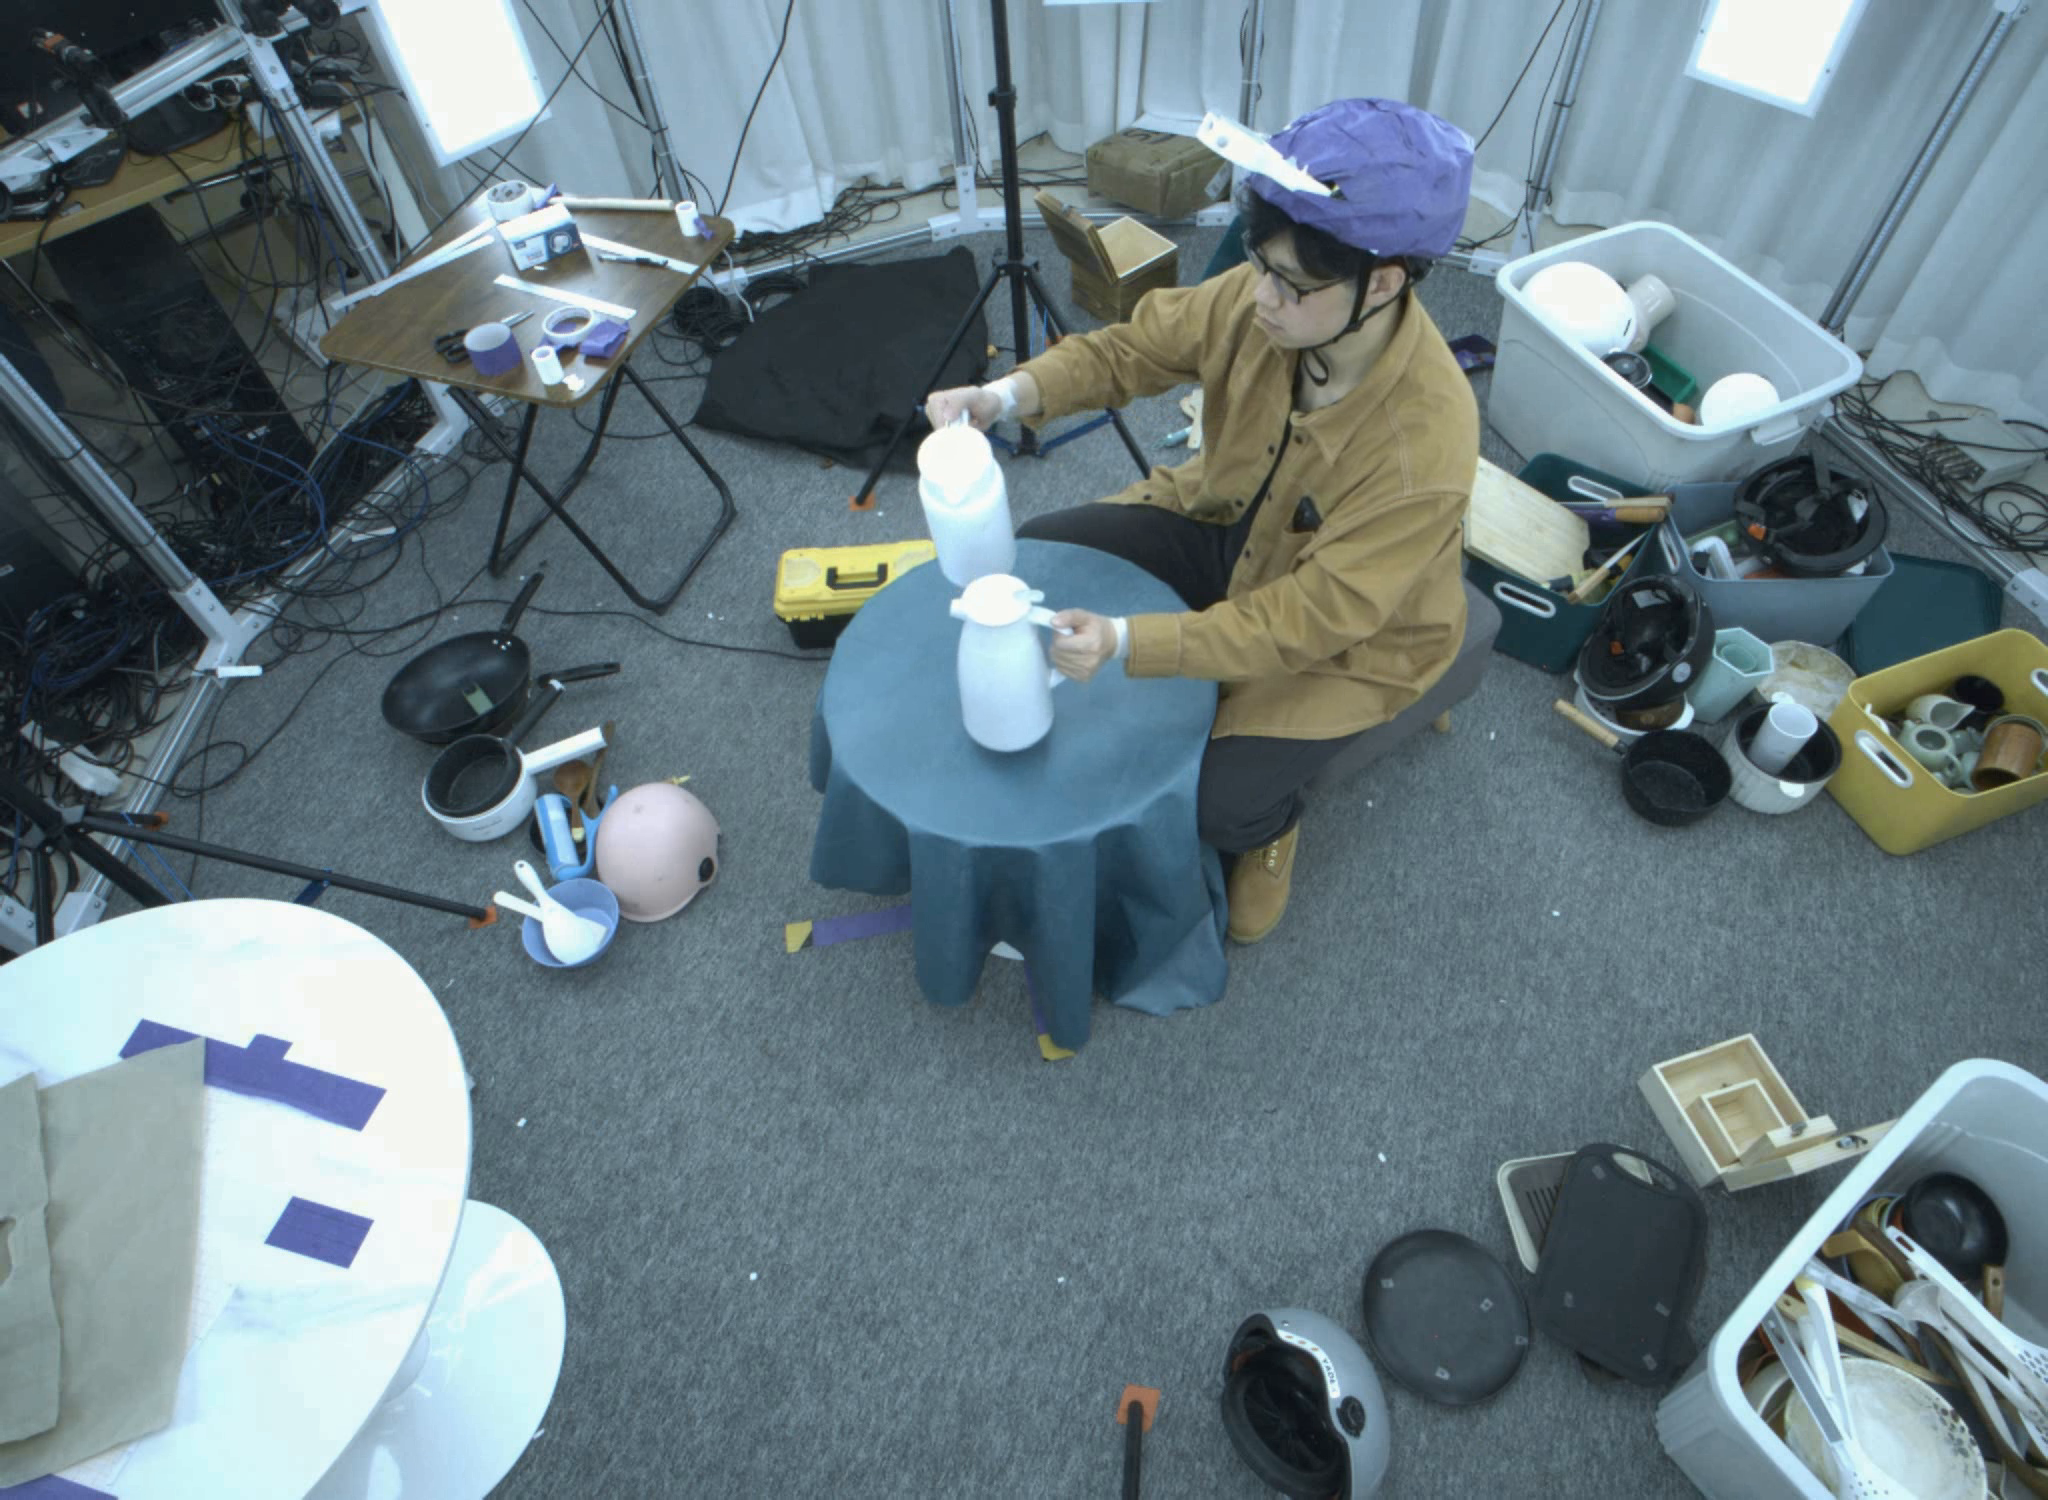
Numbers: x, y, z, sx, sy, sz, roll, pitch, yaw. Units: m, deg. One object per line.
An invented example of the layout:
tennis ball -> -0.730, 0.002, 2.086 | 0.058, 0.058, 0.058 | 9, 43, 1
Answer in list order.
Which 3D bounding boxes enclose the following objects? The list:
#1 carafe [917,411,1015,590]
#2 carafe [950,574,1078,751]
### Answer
carafe -> -0.084, -0.352, 1.719 | 0.123, 0.272, 0.171 | -4, 68, 5
carafe -> -0.011, -0.124, 1.668 | 0.167, 0.251, 0.131 | 1, 54, 3
